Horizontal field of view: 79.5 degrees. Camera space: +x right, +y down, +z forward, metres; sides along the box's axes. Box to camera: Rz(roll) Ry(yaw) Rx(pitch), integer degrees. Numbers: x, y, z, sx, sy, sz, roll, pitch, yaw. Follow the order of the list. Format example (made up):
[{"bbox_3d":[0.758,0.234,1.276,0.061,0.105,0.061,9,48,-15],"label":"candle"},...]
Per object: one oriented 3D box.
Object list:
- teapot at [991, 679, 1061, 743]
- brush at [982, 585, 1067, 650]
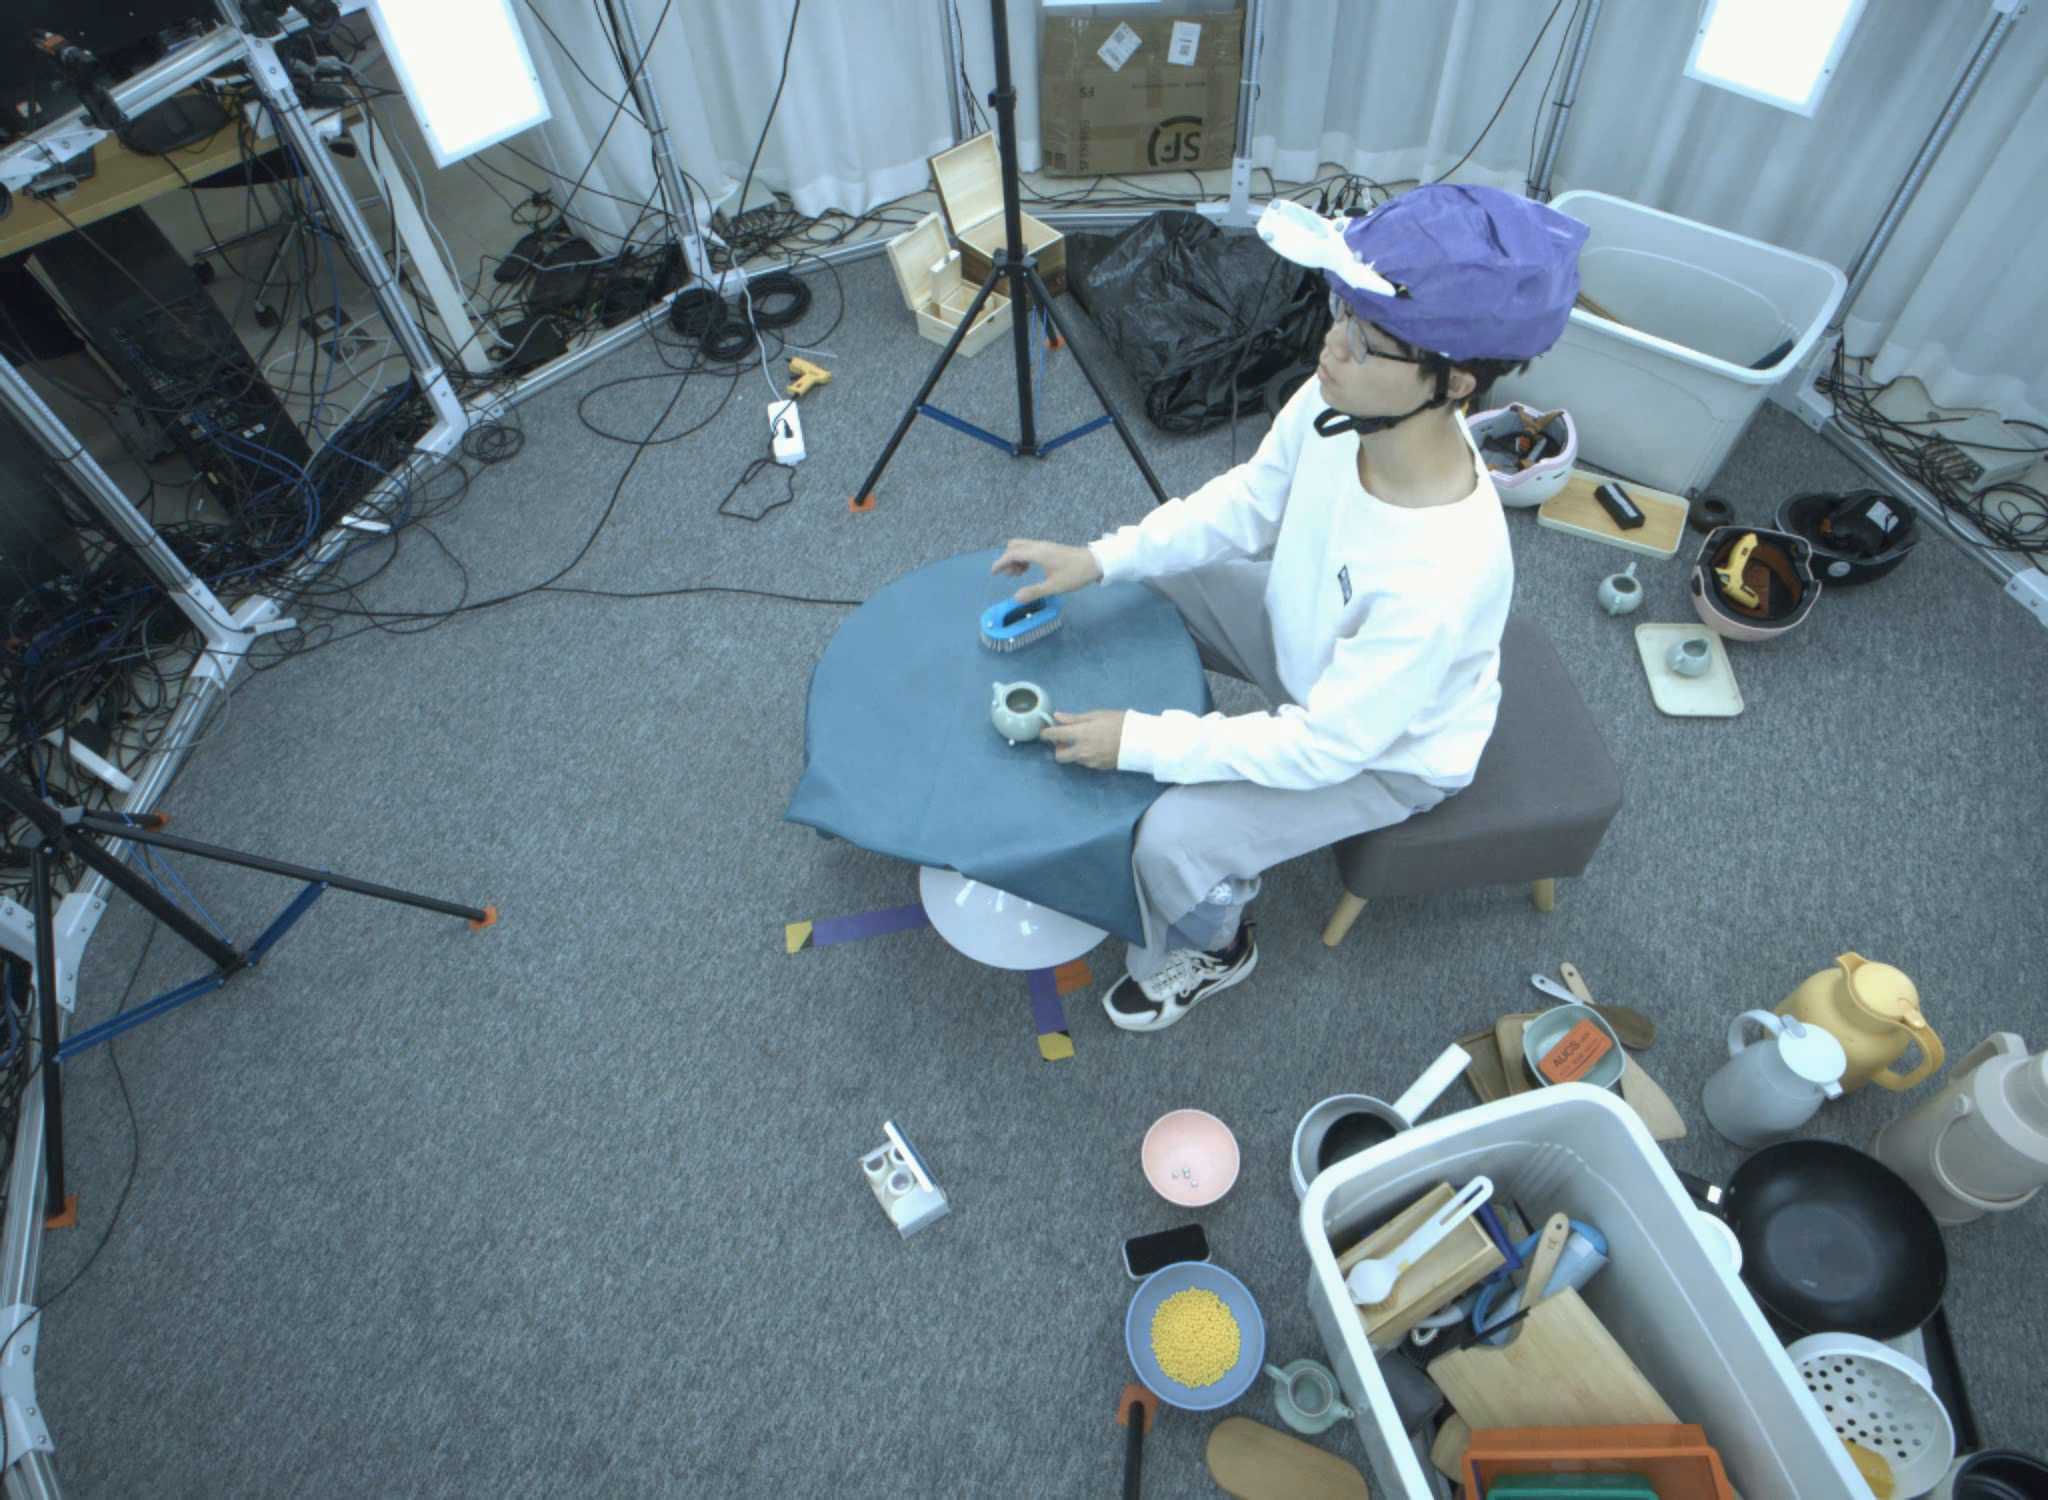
[{"bbox_3d":[0.005,-0.052,1.785,0.126,0.061,0.092,37,62,24],"label":"teapot"},{"bbox_3d":[-0.003,-0.216,1.898,0.143,0.064,0.082,-27,52,-16],"label":"brush"}]
